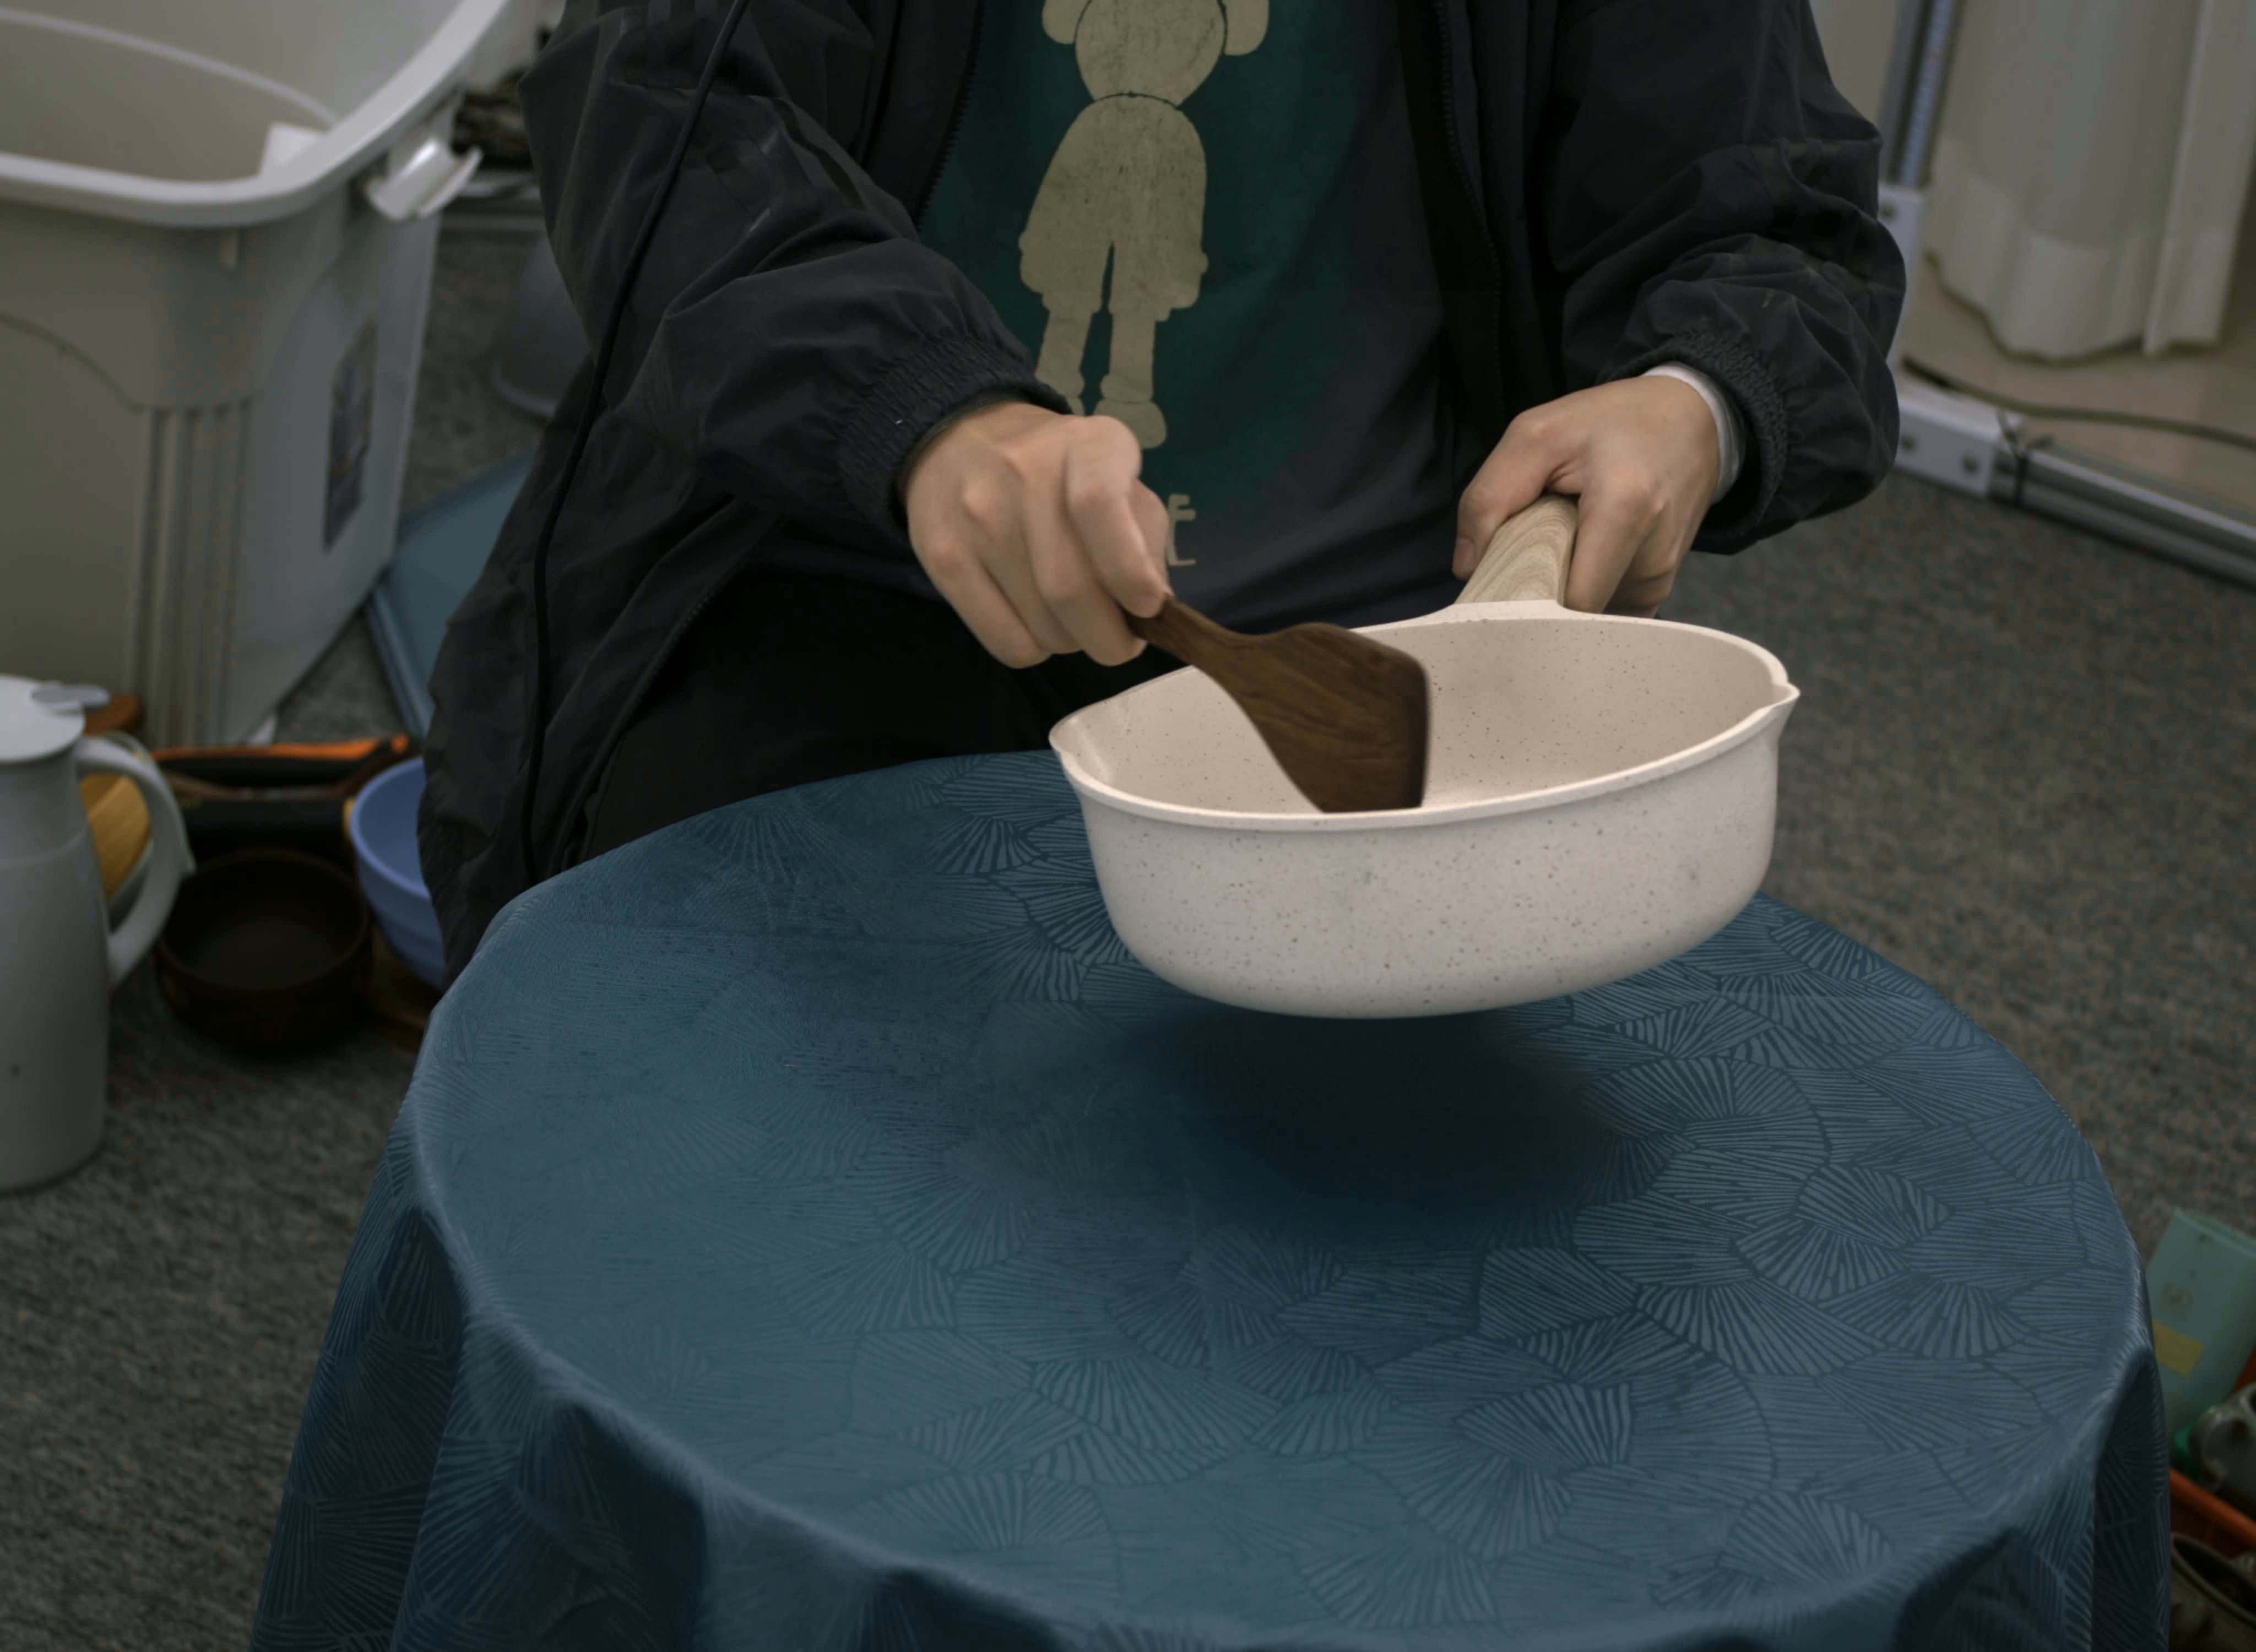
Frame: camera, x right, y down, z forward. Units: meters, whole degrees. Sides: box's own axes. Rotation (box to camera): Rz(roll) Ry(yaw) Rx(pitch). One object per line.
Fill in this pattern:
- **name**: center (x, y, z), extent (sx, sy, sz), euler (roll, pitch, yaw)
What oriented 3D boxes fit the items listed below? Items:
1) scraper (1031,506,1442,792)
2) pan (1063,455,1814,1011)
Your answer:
- **scraper**: center (0.033, -0.061, 1.809), extent (0.011, 0.075, 0.213), euler (-19, 35, -34)
- **pan**: center (0.132, -0.037, 1.922), extent (0.263, 0.102, 0.435), euler (-4, 16, 16)
